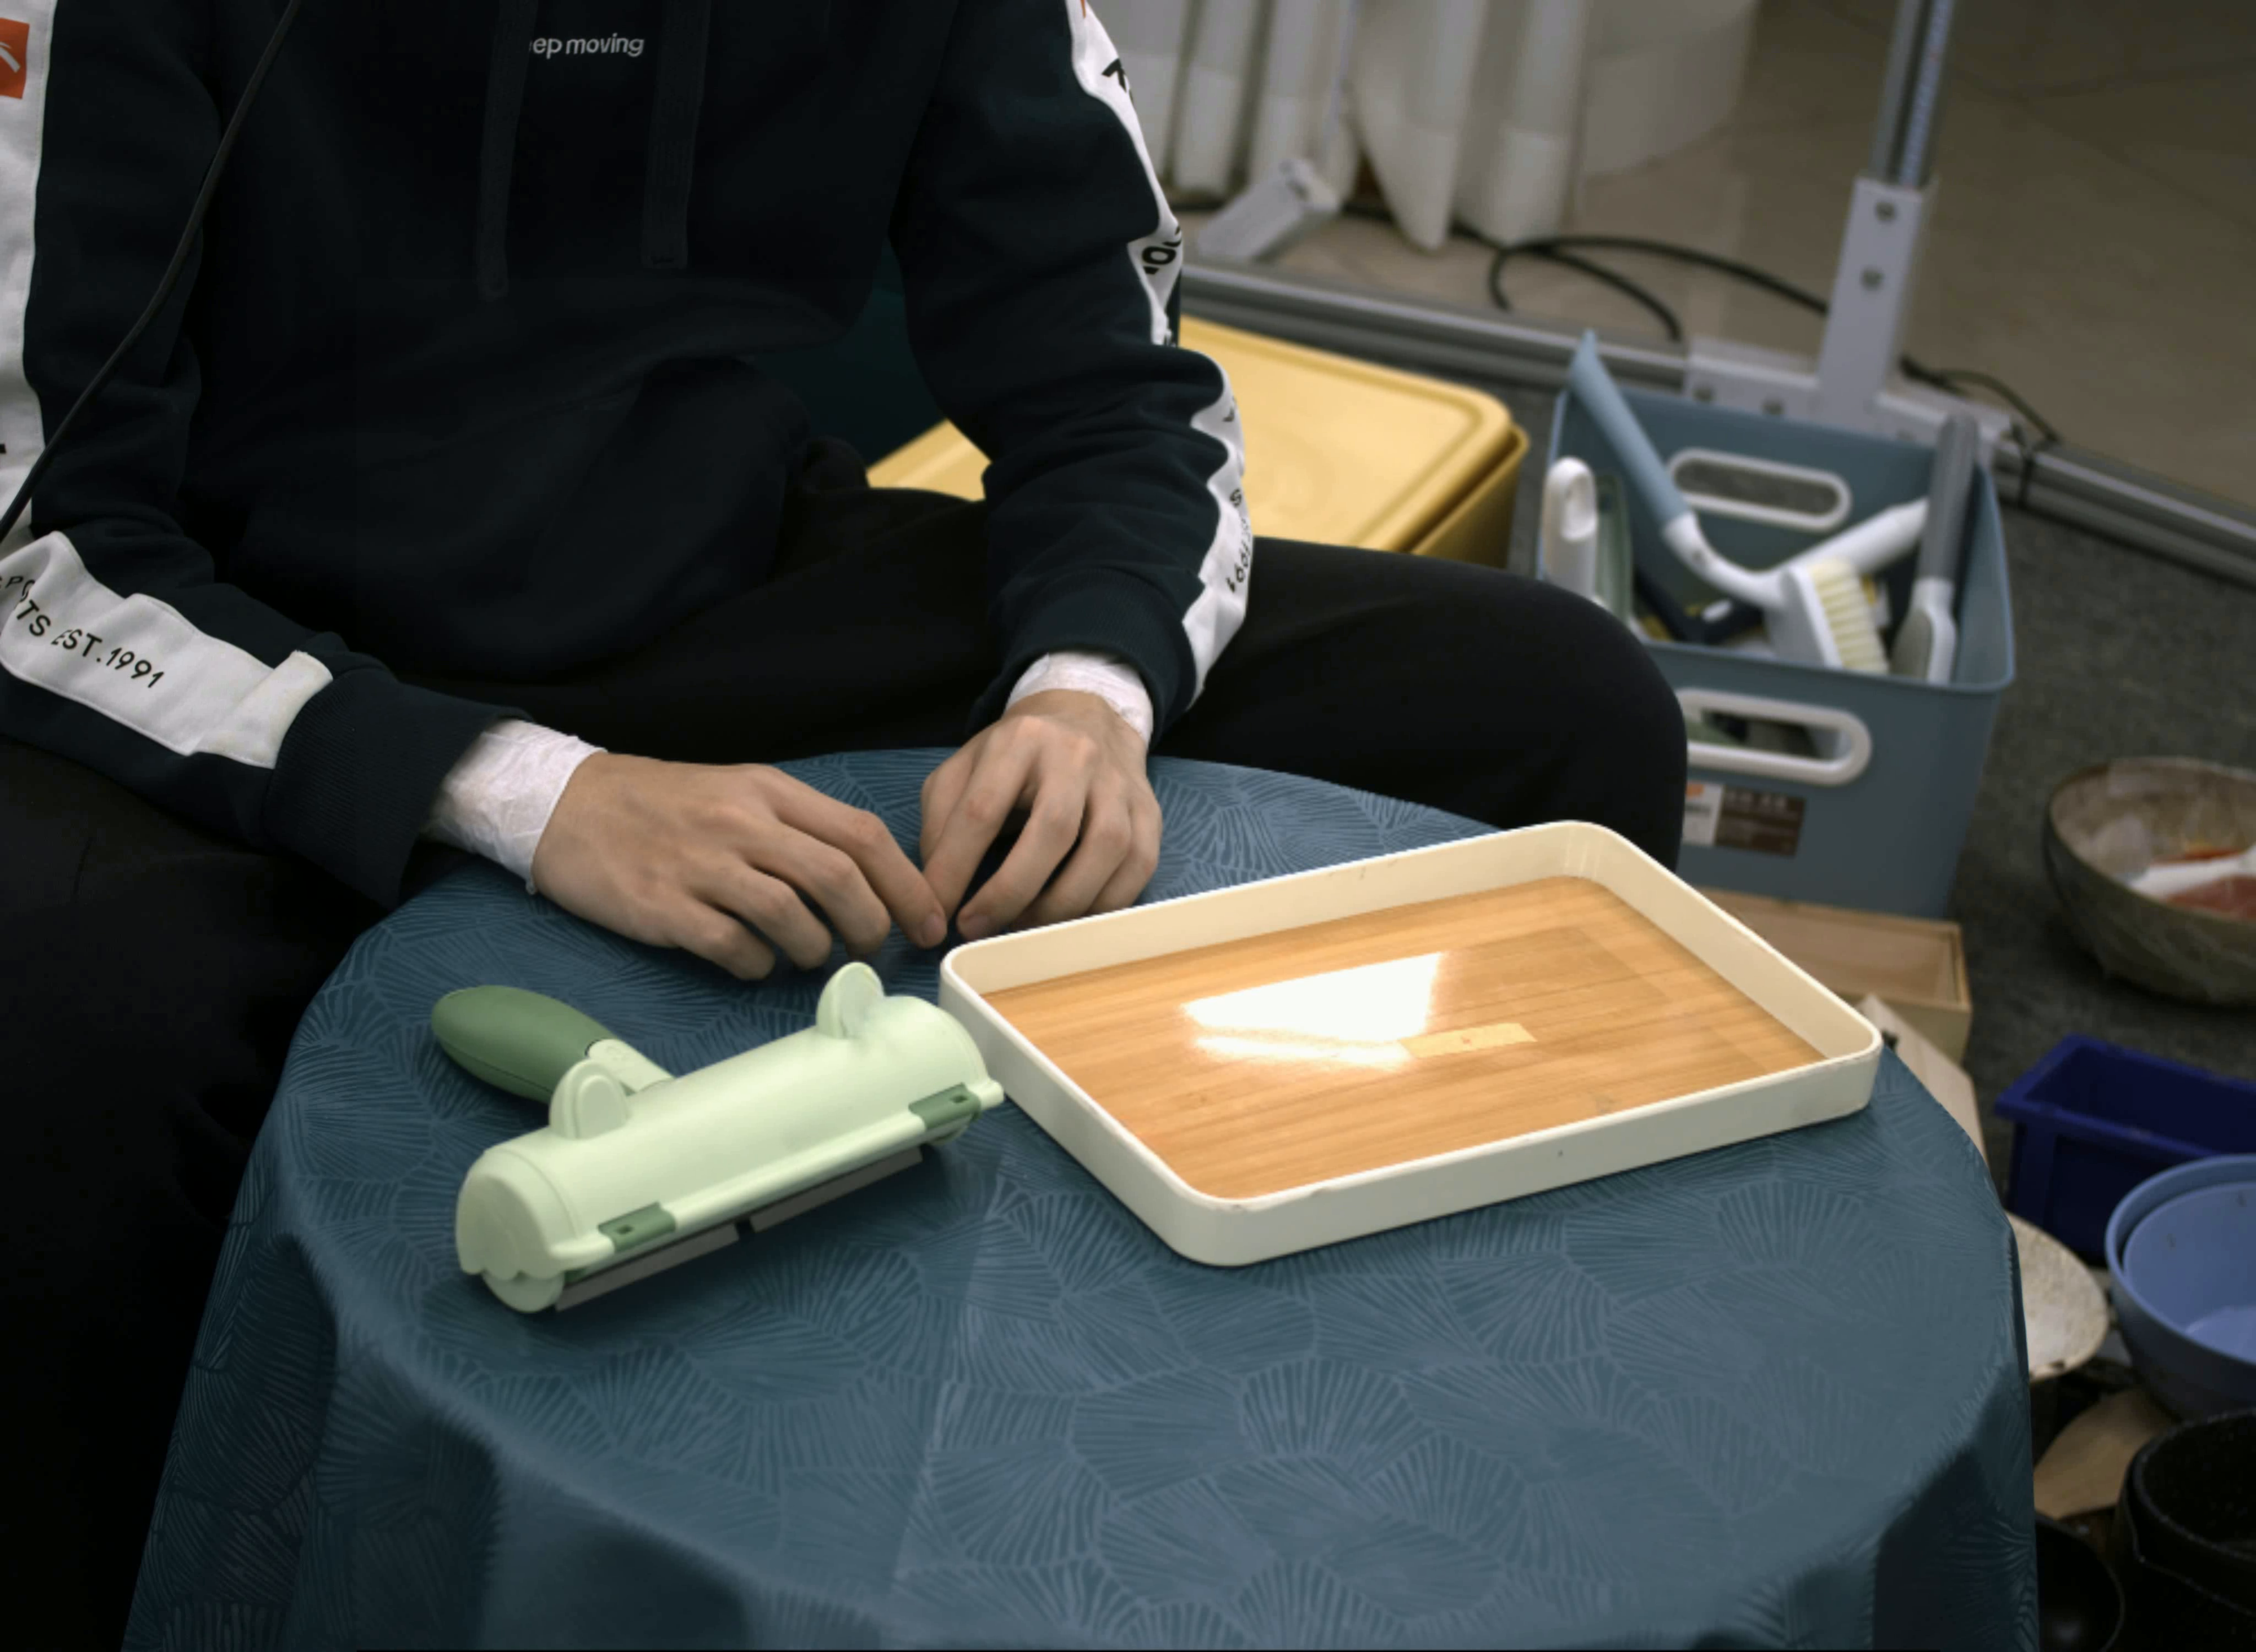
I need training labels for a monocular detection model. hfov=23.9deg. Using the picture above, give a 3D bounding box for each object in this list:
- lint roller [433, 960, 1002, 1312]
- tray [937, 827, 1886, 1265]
[{"bbox_3d":[-0.169,0.075,1.773,0.197,0.082,0.185,-20,41,-41],"label":"lint roller"},{"bbox_3d":[0.101,0.073,1.891,0.298,0.027,0.193,-11,31,-30],"label":"tray"}]
